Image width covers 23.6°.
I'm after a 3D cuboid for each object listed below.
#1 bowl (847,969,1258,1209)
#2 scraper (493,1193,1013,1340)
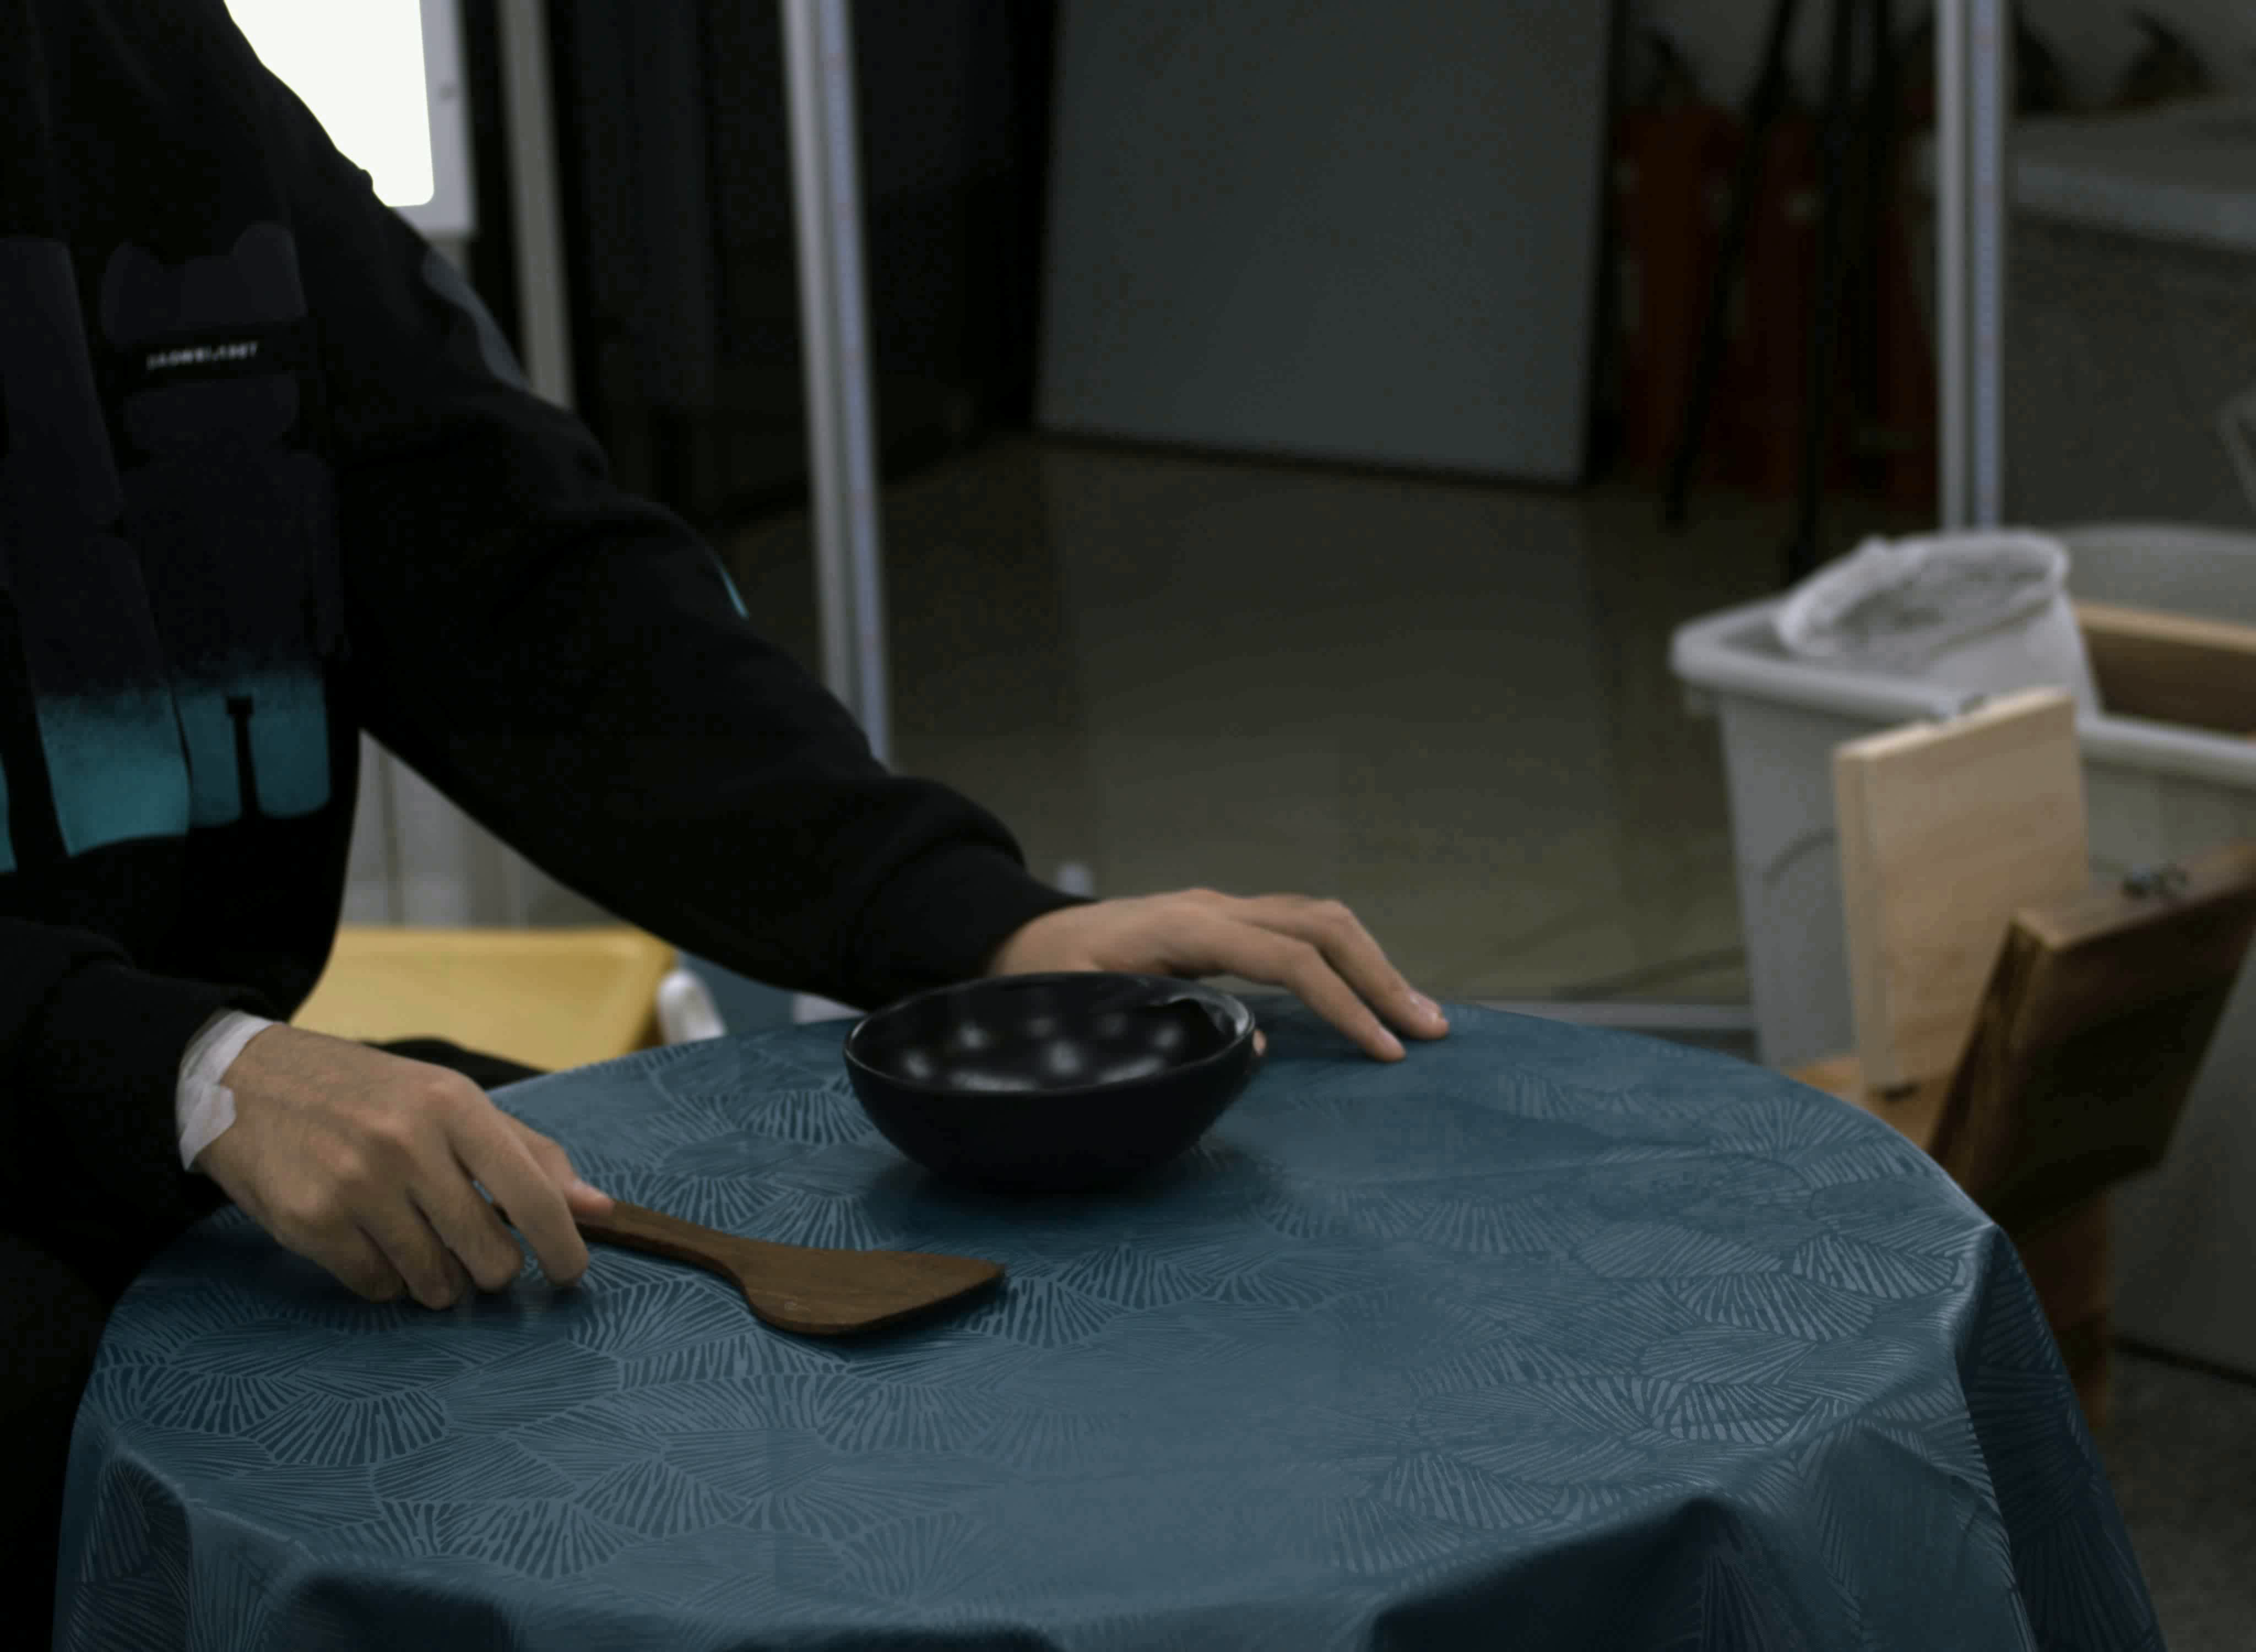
[{"bbox_3d":[-0.023,0.092,1.797,0.138,0.050,0.140,-6,15,1],"label":"bowl"},{"bbox_3d":[-0.129,0.138,1.726,0.074,0.011,0.213,-16,18,-43],"label":"scraper"}]
